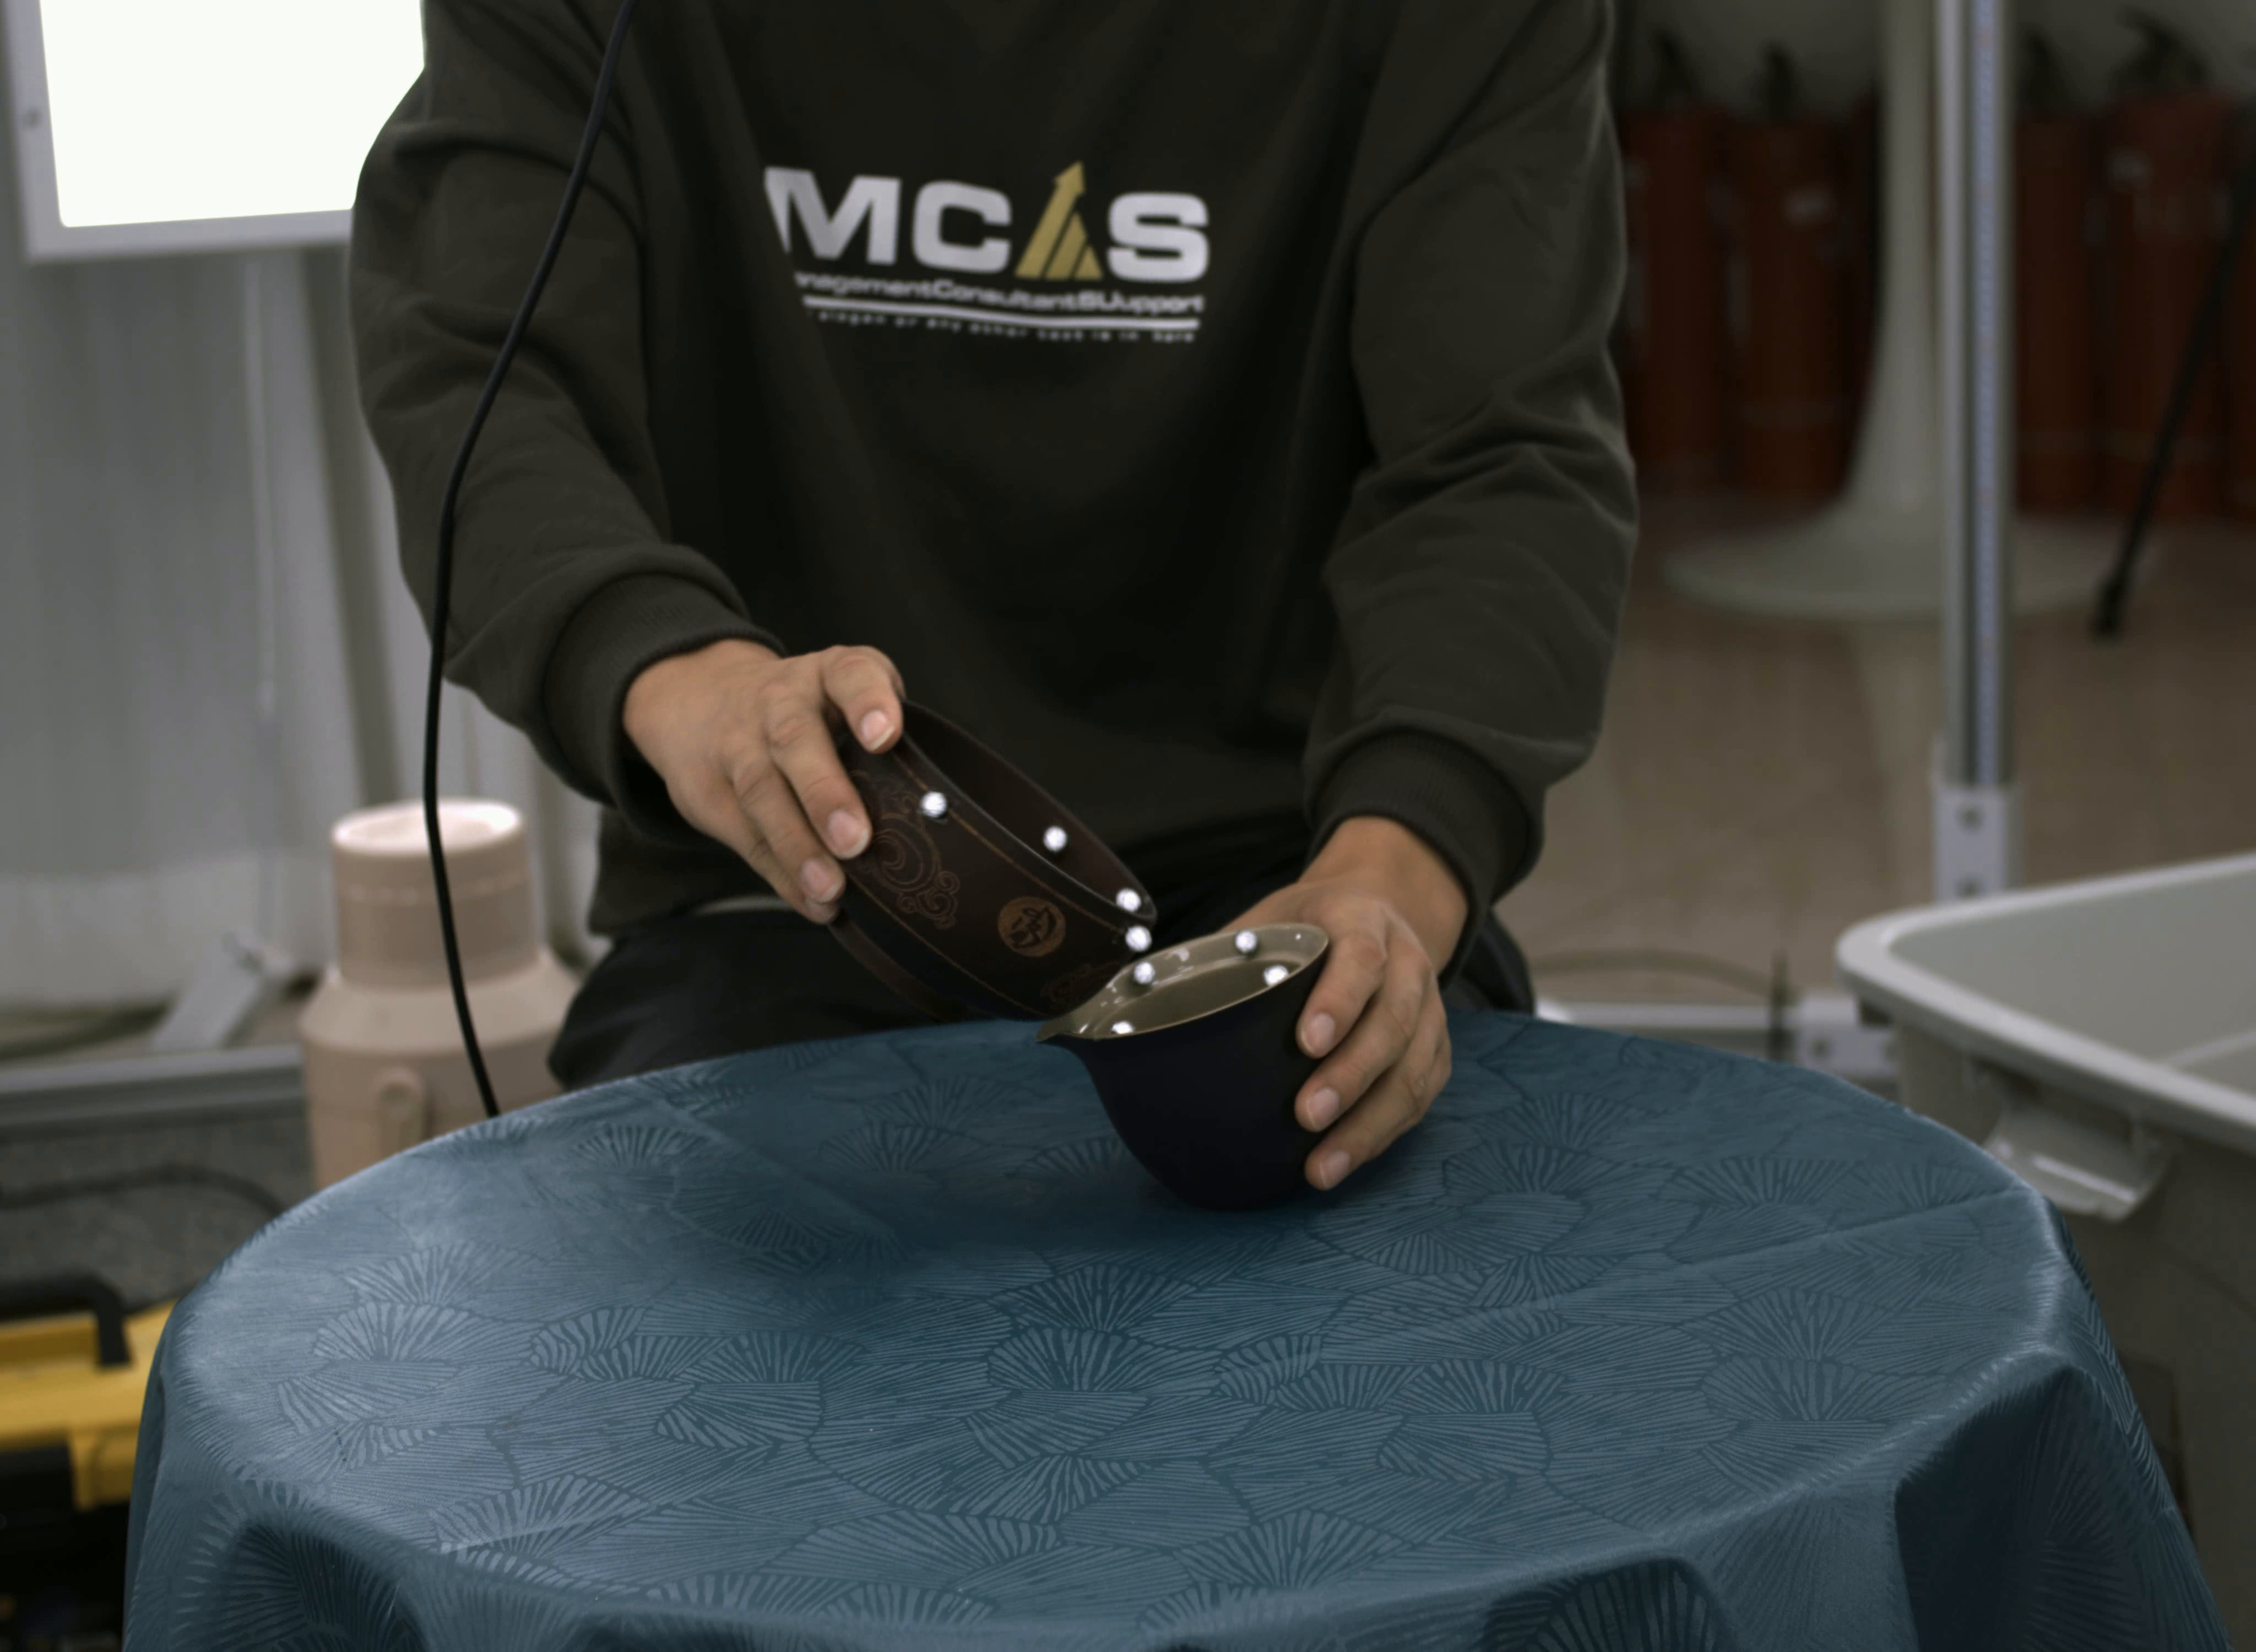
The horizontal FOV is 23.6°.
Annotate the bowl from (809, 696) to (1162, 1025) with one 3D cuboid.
[{"bbox_3d":[-0.054,0.020,1.739,0.117,0.070,0.118,35,7,-6],"label":"bowl"}]

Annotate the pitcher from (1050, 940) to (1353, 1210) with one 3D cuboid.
[{"bbox_3d":[0.030,0.083,1.753,0.095,0.072,0.083,-18,15,10],"label":"pitcher"}]
